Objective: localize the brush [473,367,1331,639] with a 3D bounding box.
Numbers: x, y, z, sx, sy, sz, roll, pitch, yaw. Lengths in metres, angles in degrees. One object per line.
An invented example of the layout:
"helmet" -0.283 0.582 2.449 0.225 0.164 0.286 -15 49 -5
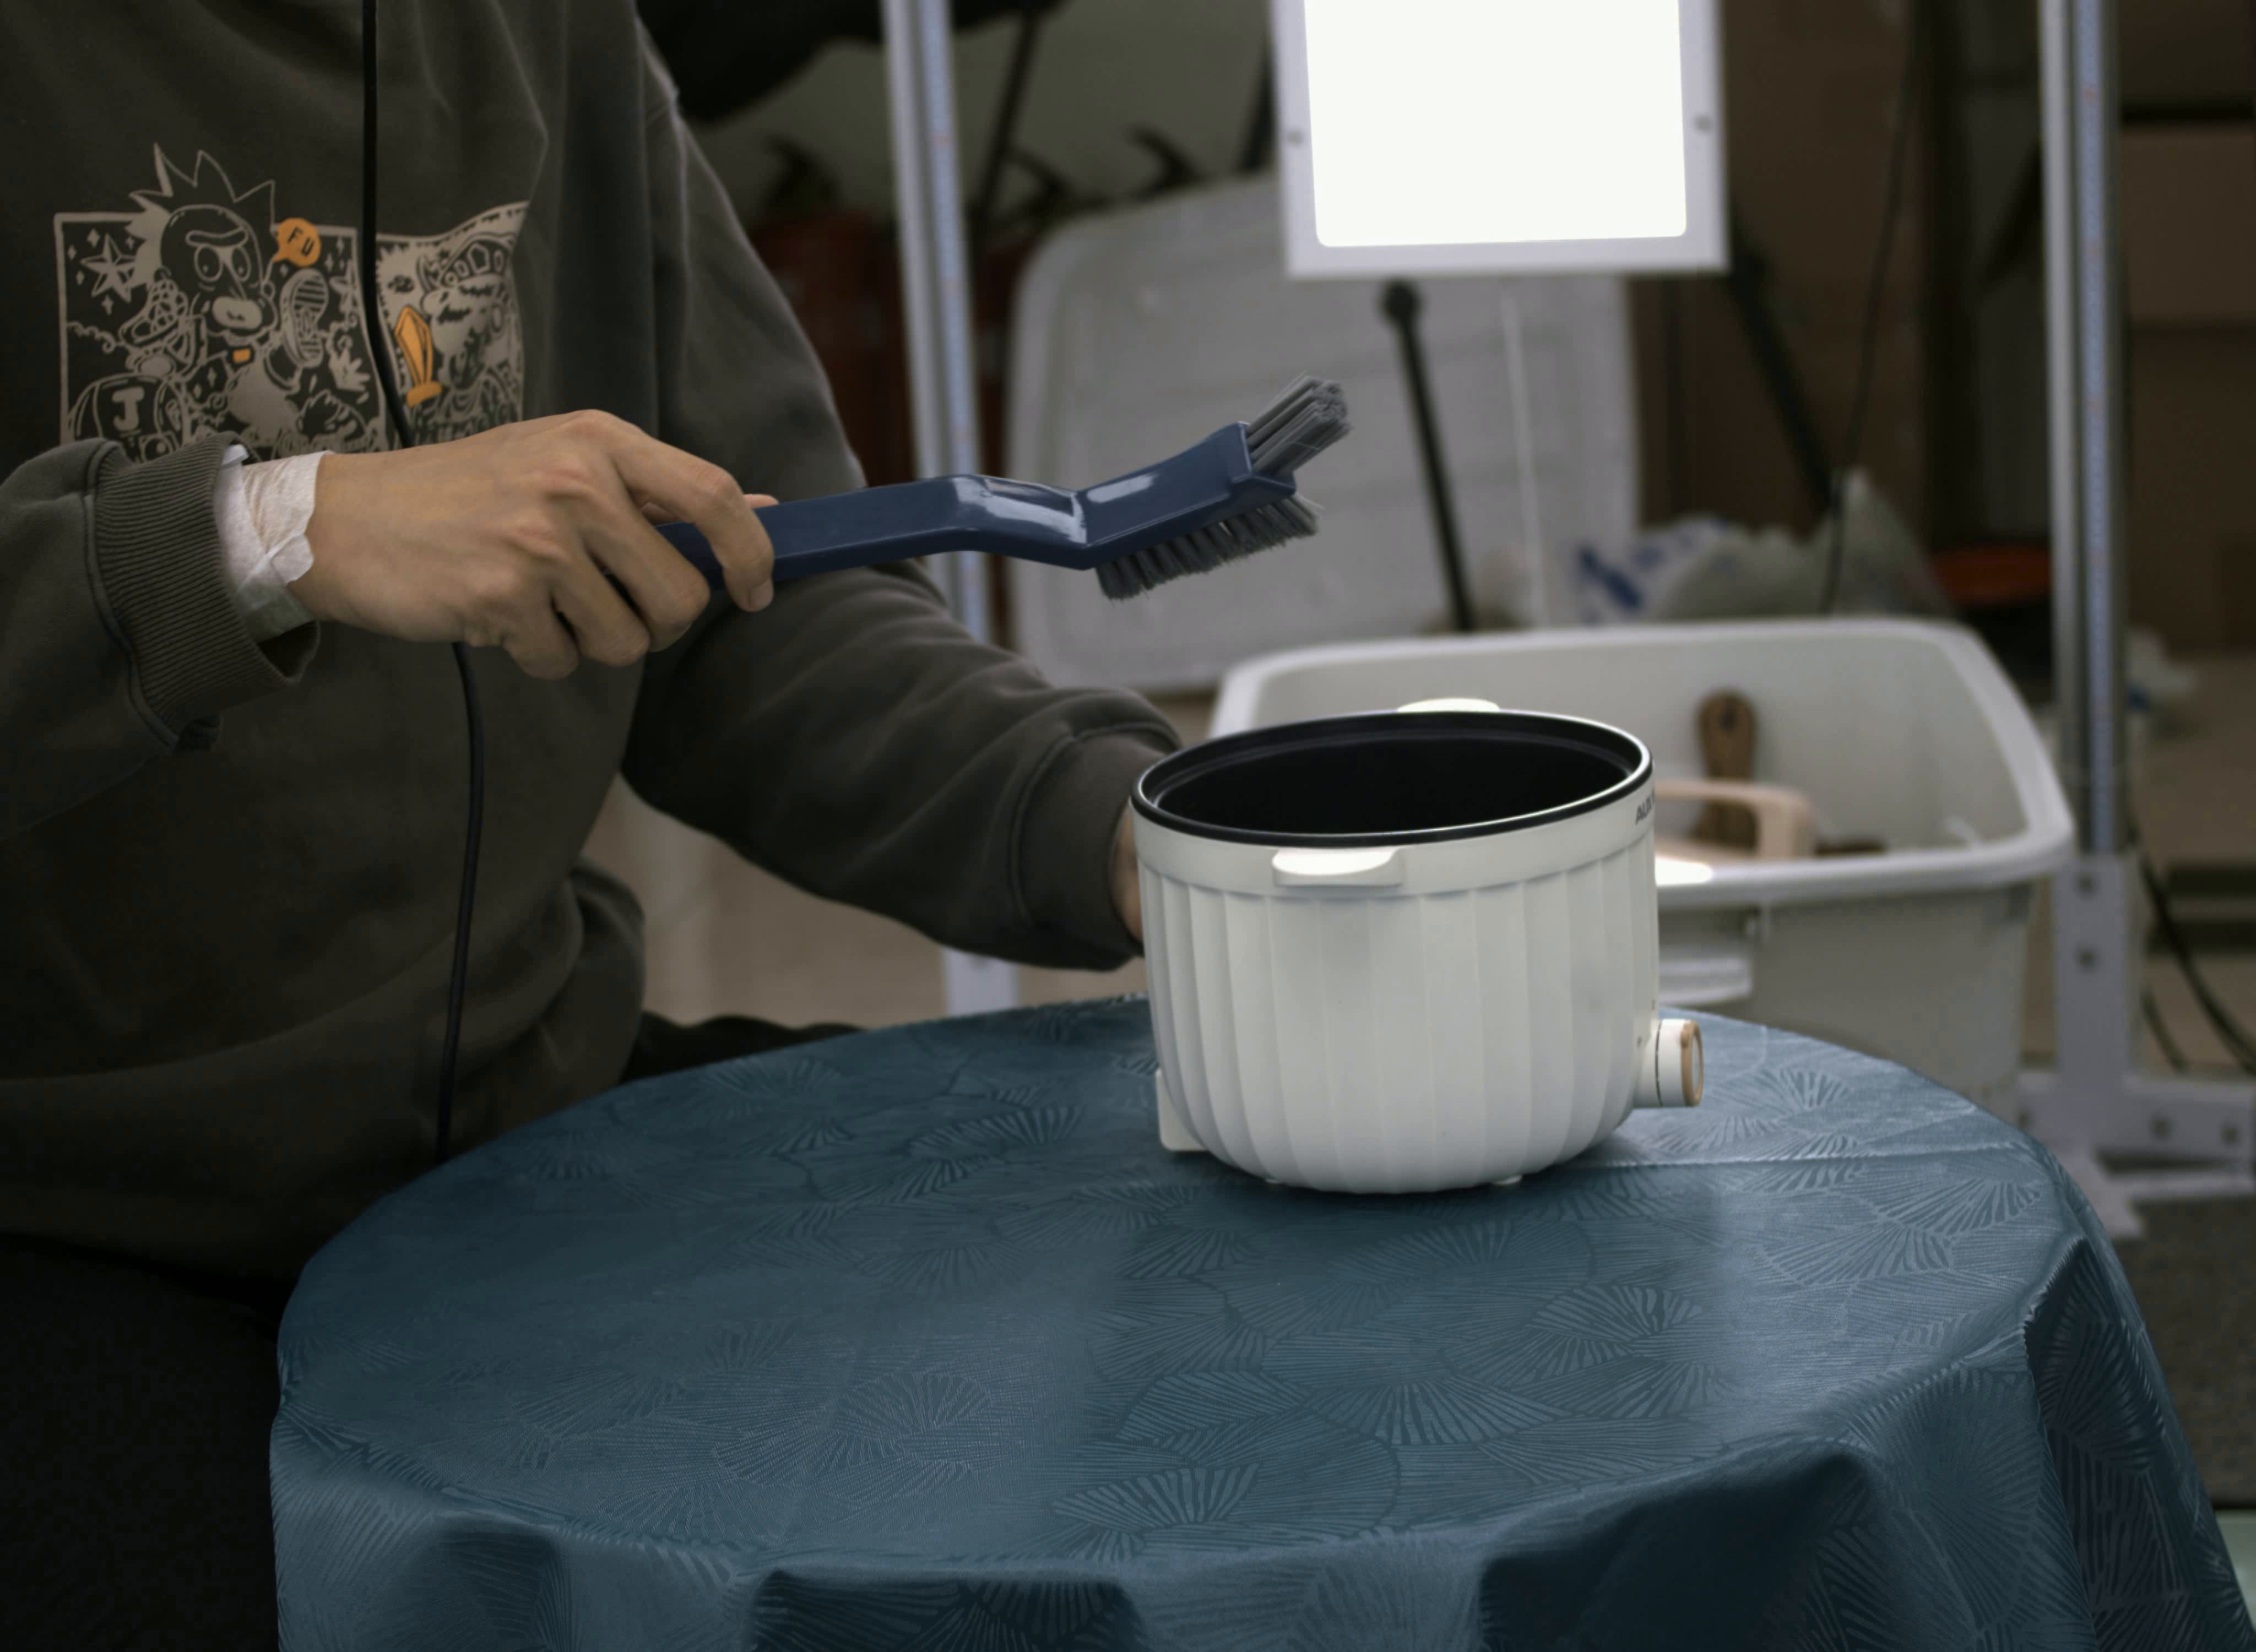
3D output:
"brush" -0.074 -0.102 1.760 0.271 0.096 0.033 -5 55 -5

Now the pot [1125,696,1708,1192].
"pot" 0.101 0.043 1.905 0.192 0.143 0.237 -5 15 16
